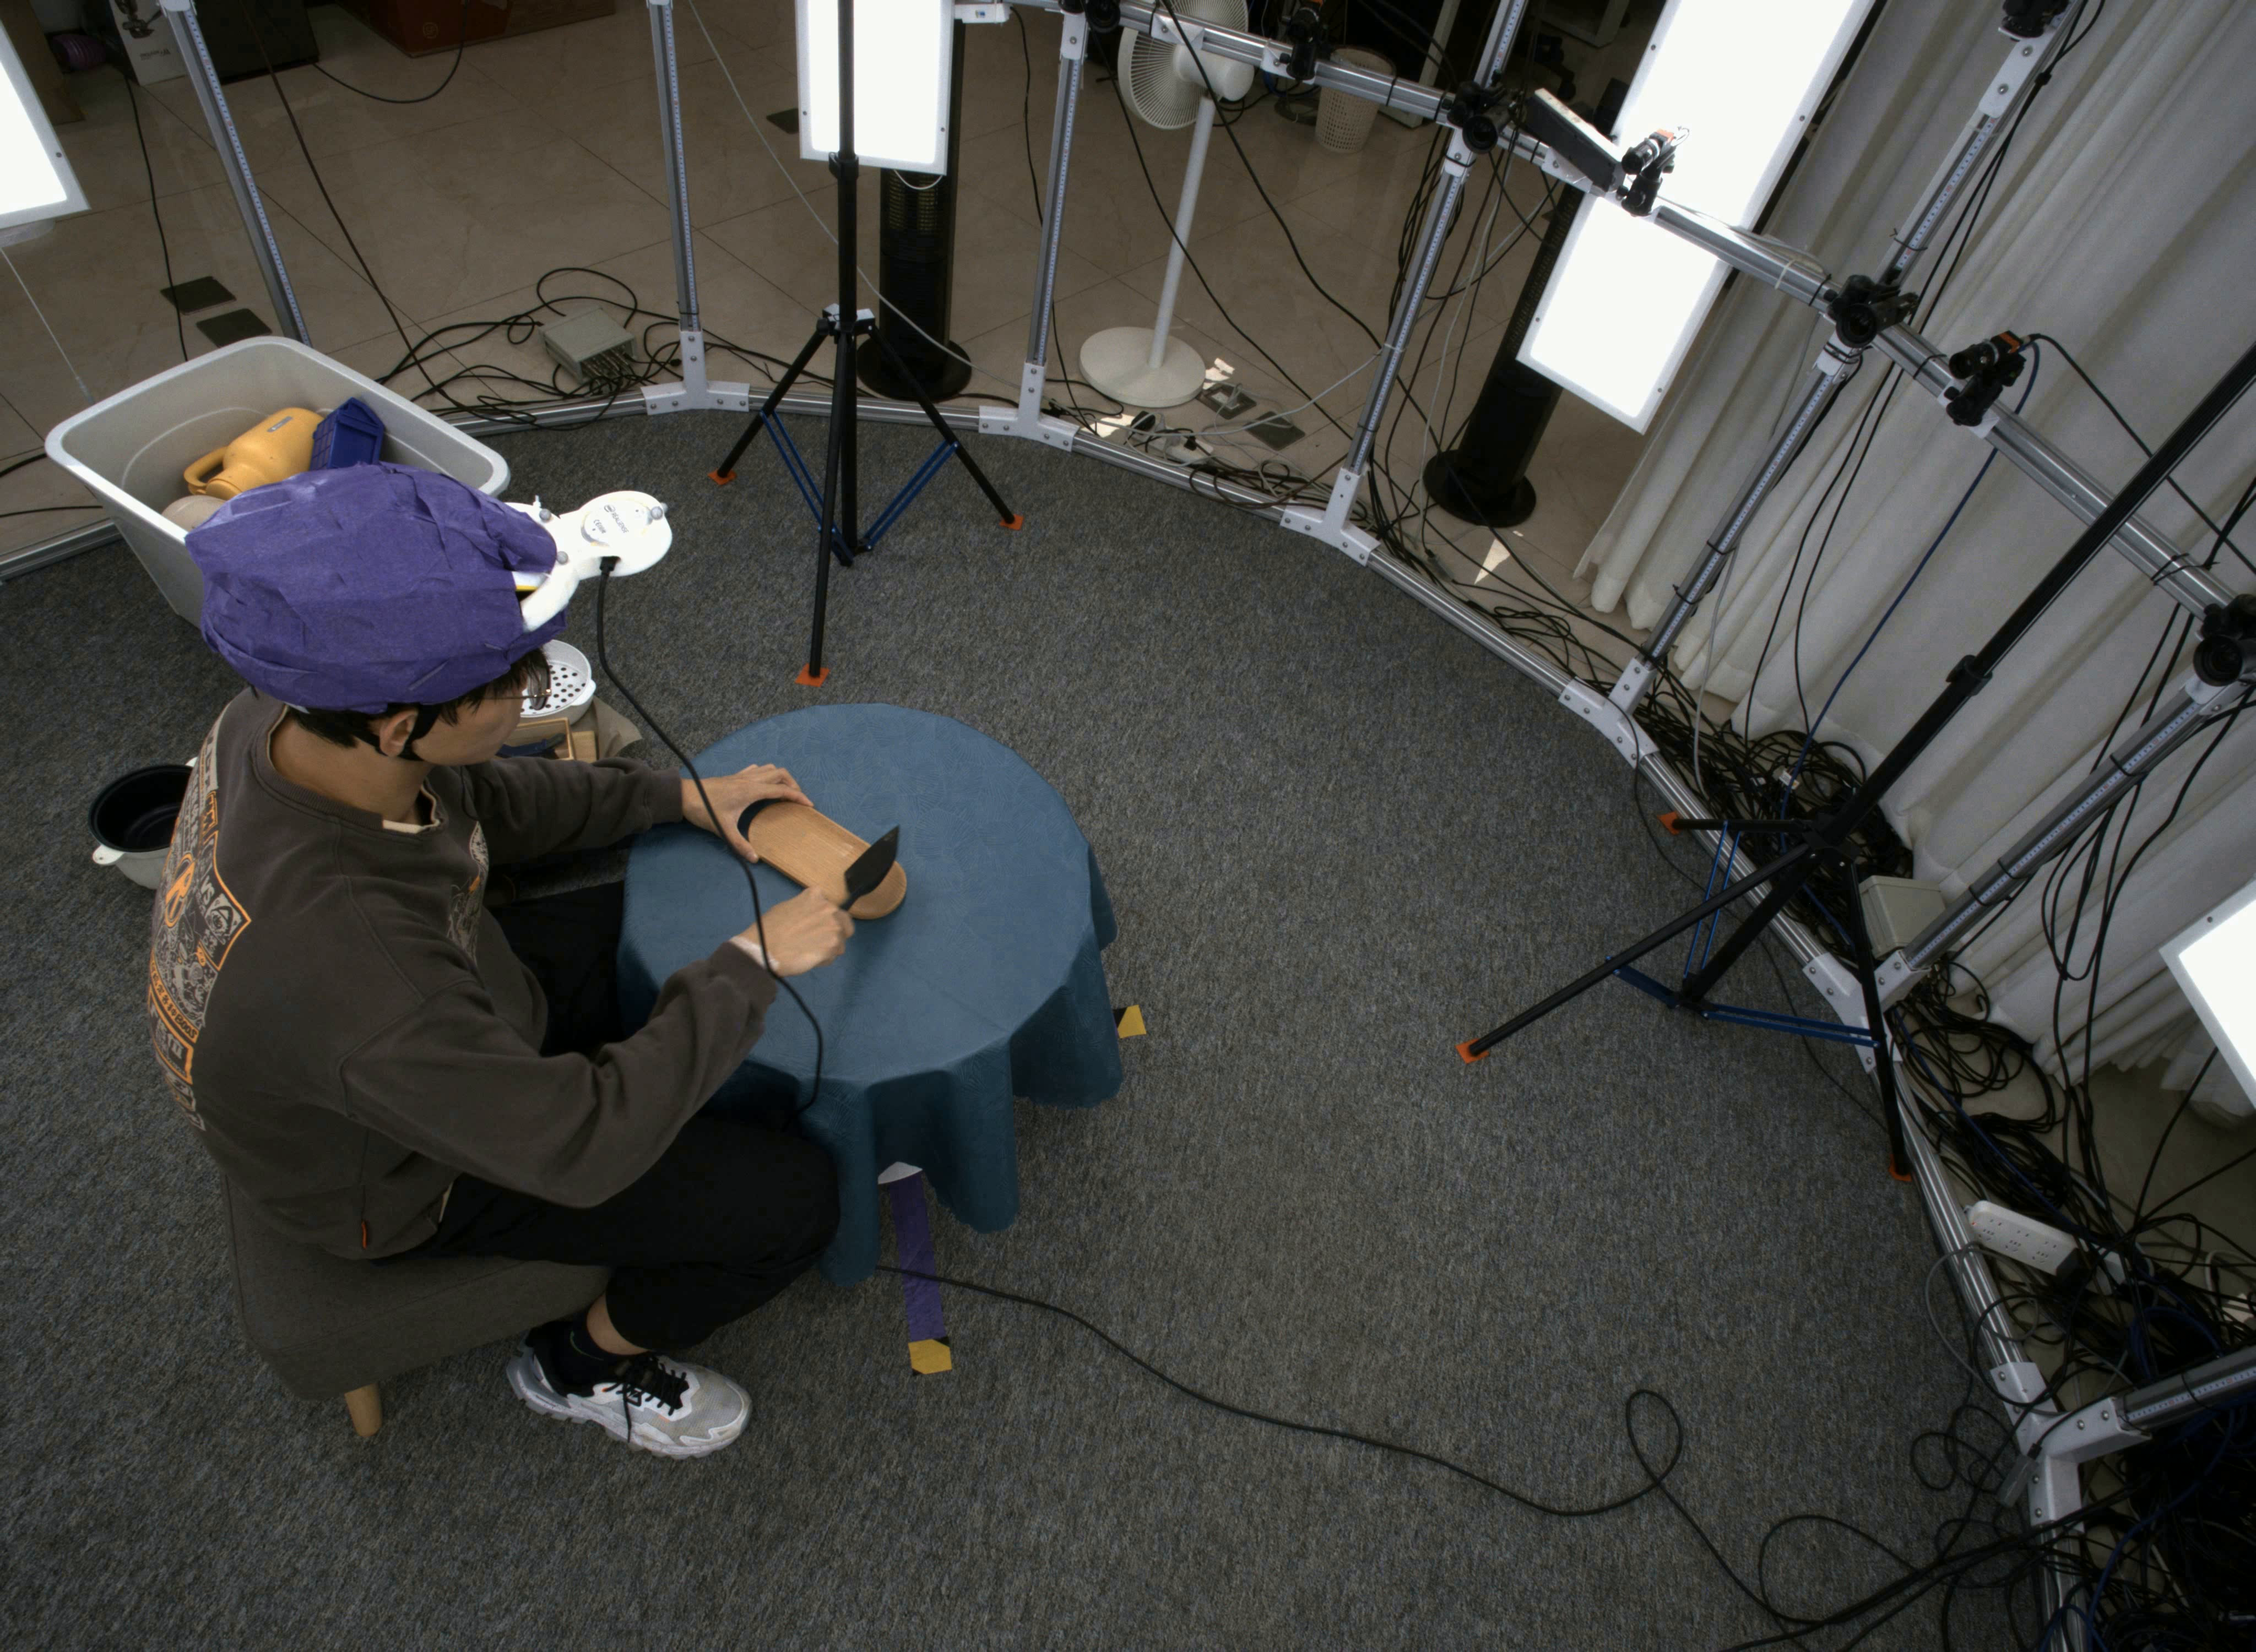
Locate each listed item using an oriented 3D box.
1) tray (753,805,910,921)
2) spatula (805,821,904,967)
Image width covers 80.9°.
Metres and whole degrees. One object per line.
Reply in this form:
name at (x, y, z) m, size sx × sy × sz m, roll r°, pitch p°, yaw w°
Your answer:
tray at (-0.390, 0.047, 1.703) m, size 0.227 × 0.021 × 0.101 m, roll 32°, pitch 55°, yaw 9°
spatula at (-0.327, 0.083, 1.521) m, size 0.041 × 0.099 × 0.323 m, roll 45°, pitch 18°, yaw -8°
